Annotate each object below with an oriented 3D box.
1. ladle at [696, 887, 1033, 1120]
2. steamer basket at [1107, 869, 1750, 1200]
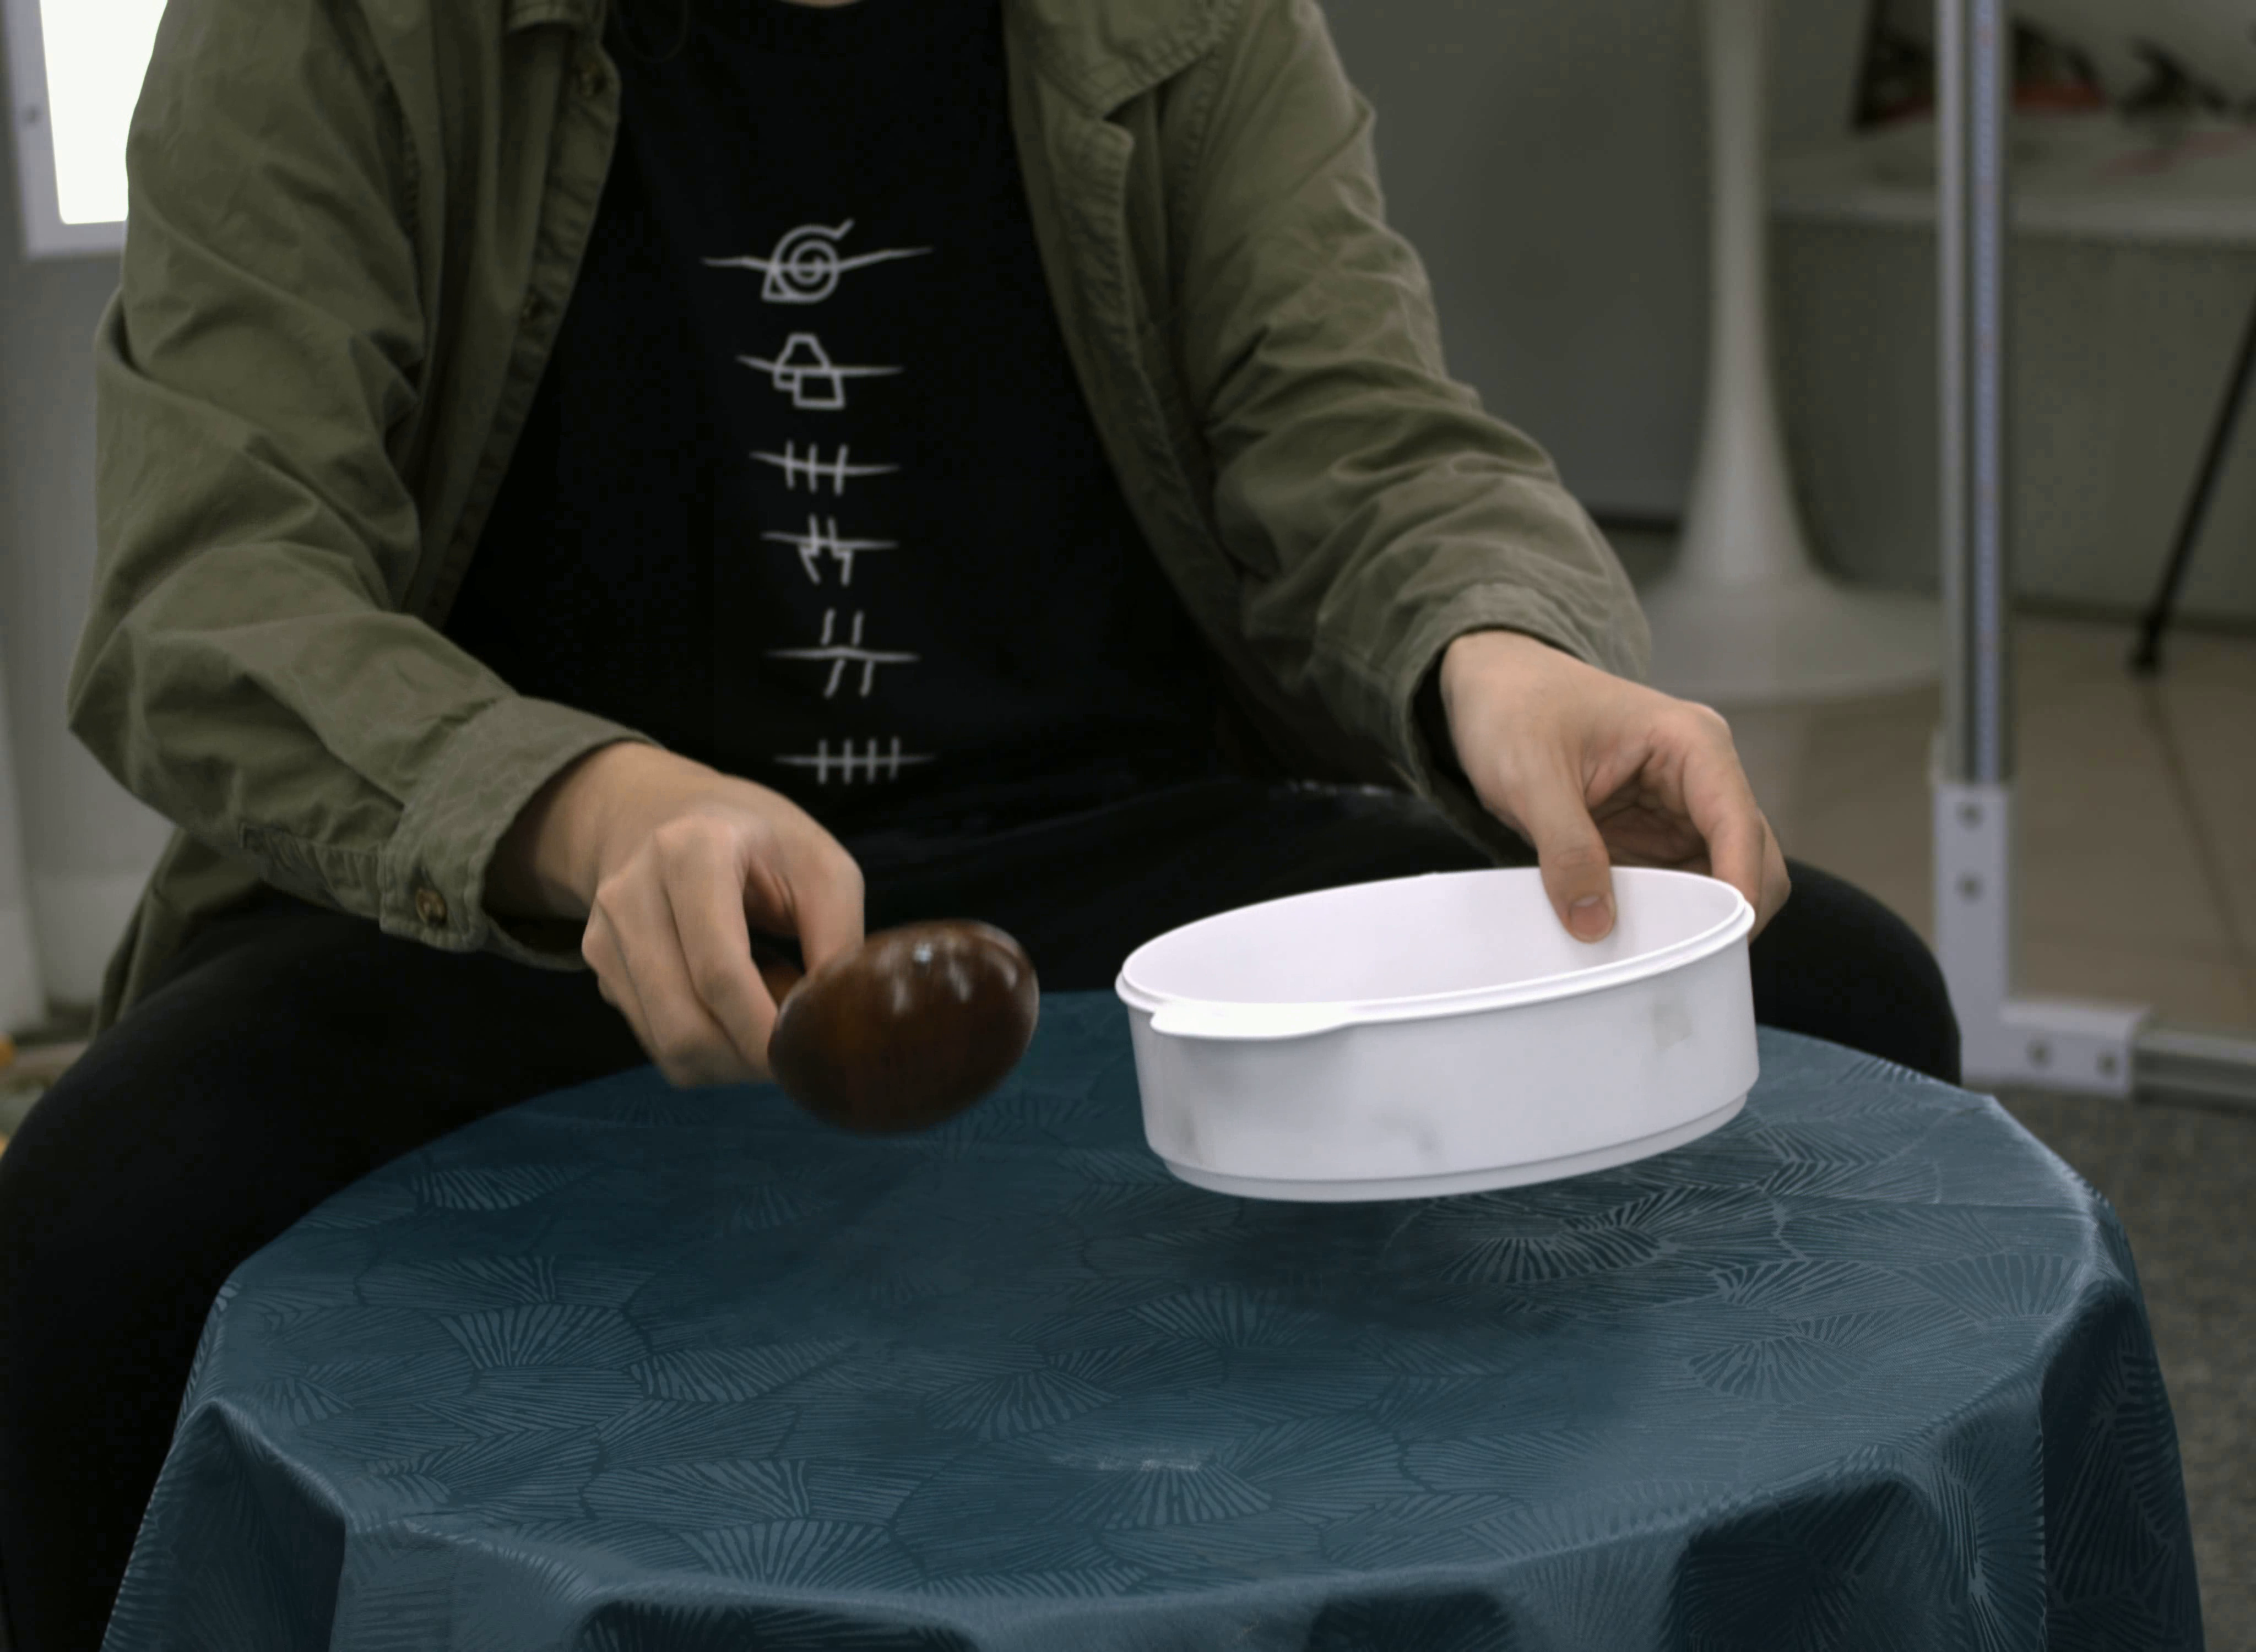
[{"bbox_3d":[-0.097,0.035,1.642,0.080,0.077,0.276,-5,11,-16],"label":"ladle"},{"bbox_3d":[0.095,0.065,1.667,0.203,0.070,0.226,1,11,41],"label":"steamer basket"}]
